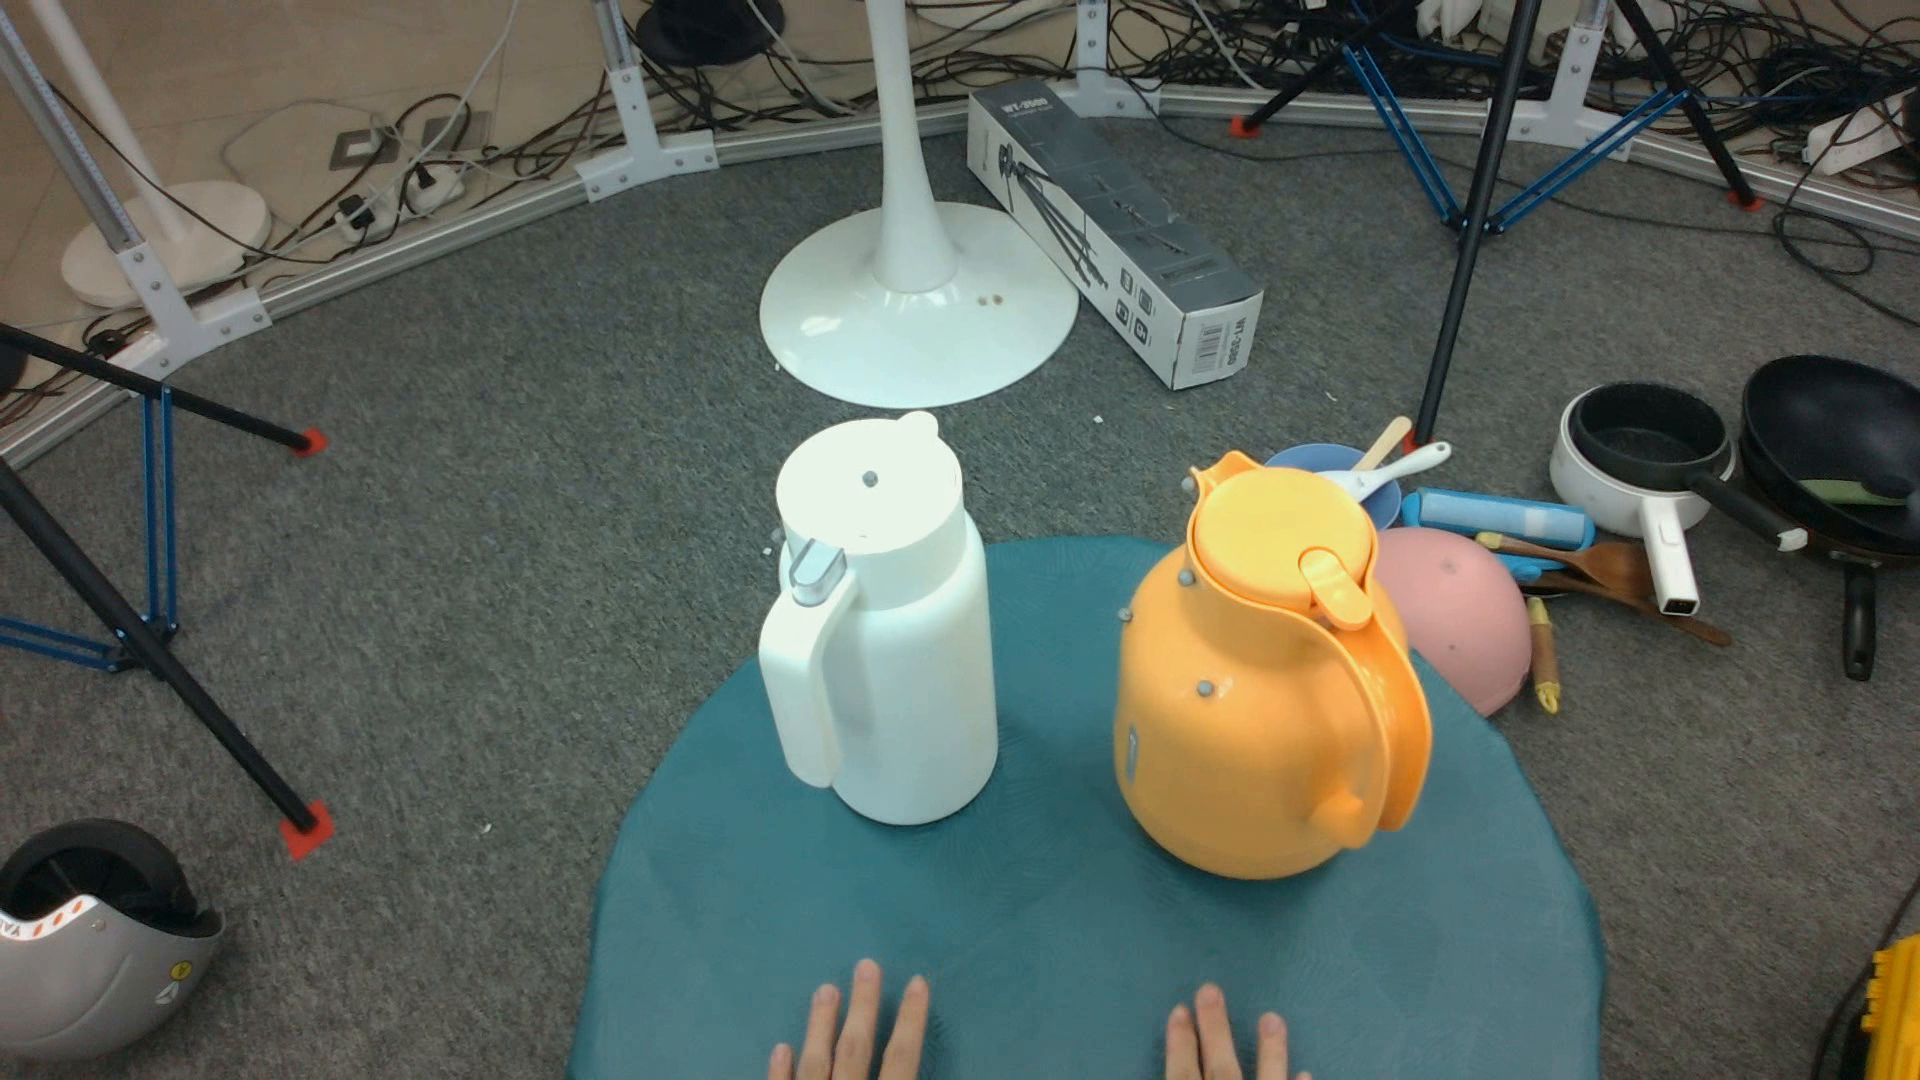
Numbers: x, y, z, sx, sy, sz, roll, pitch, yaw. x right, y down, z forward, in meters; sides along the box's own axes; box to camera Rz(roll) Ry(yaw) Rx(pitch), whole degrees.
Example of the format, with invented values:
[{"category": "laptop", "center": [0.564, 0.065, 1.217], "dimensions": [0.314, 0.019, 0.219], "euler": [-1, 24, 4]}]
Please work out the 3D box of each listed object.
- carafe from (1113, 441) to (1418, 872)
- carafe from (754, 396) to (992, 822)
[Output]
[{"category": "carafe", "center": [0.177, 0.083, 0.784], "dimensions": [0.164, 0.259, 0.203], "euler": [-21, 49, -11]}, {"category": "carafe", "center": [-0.050, 0.066, 0.809], "dimensions": [0.124, 0.267, 0.173], "euler": [18, 52, 16]}]
